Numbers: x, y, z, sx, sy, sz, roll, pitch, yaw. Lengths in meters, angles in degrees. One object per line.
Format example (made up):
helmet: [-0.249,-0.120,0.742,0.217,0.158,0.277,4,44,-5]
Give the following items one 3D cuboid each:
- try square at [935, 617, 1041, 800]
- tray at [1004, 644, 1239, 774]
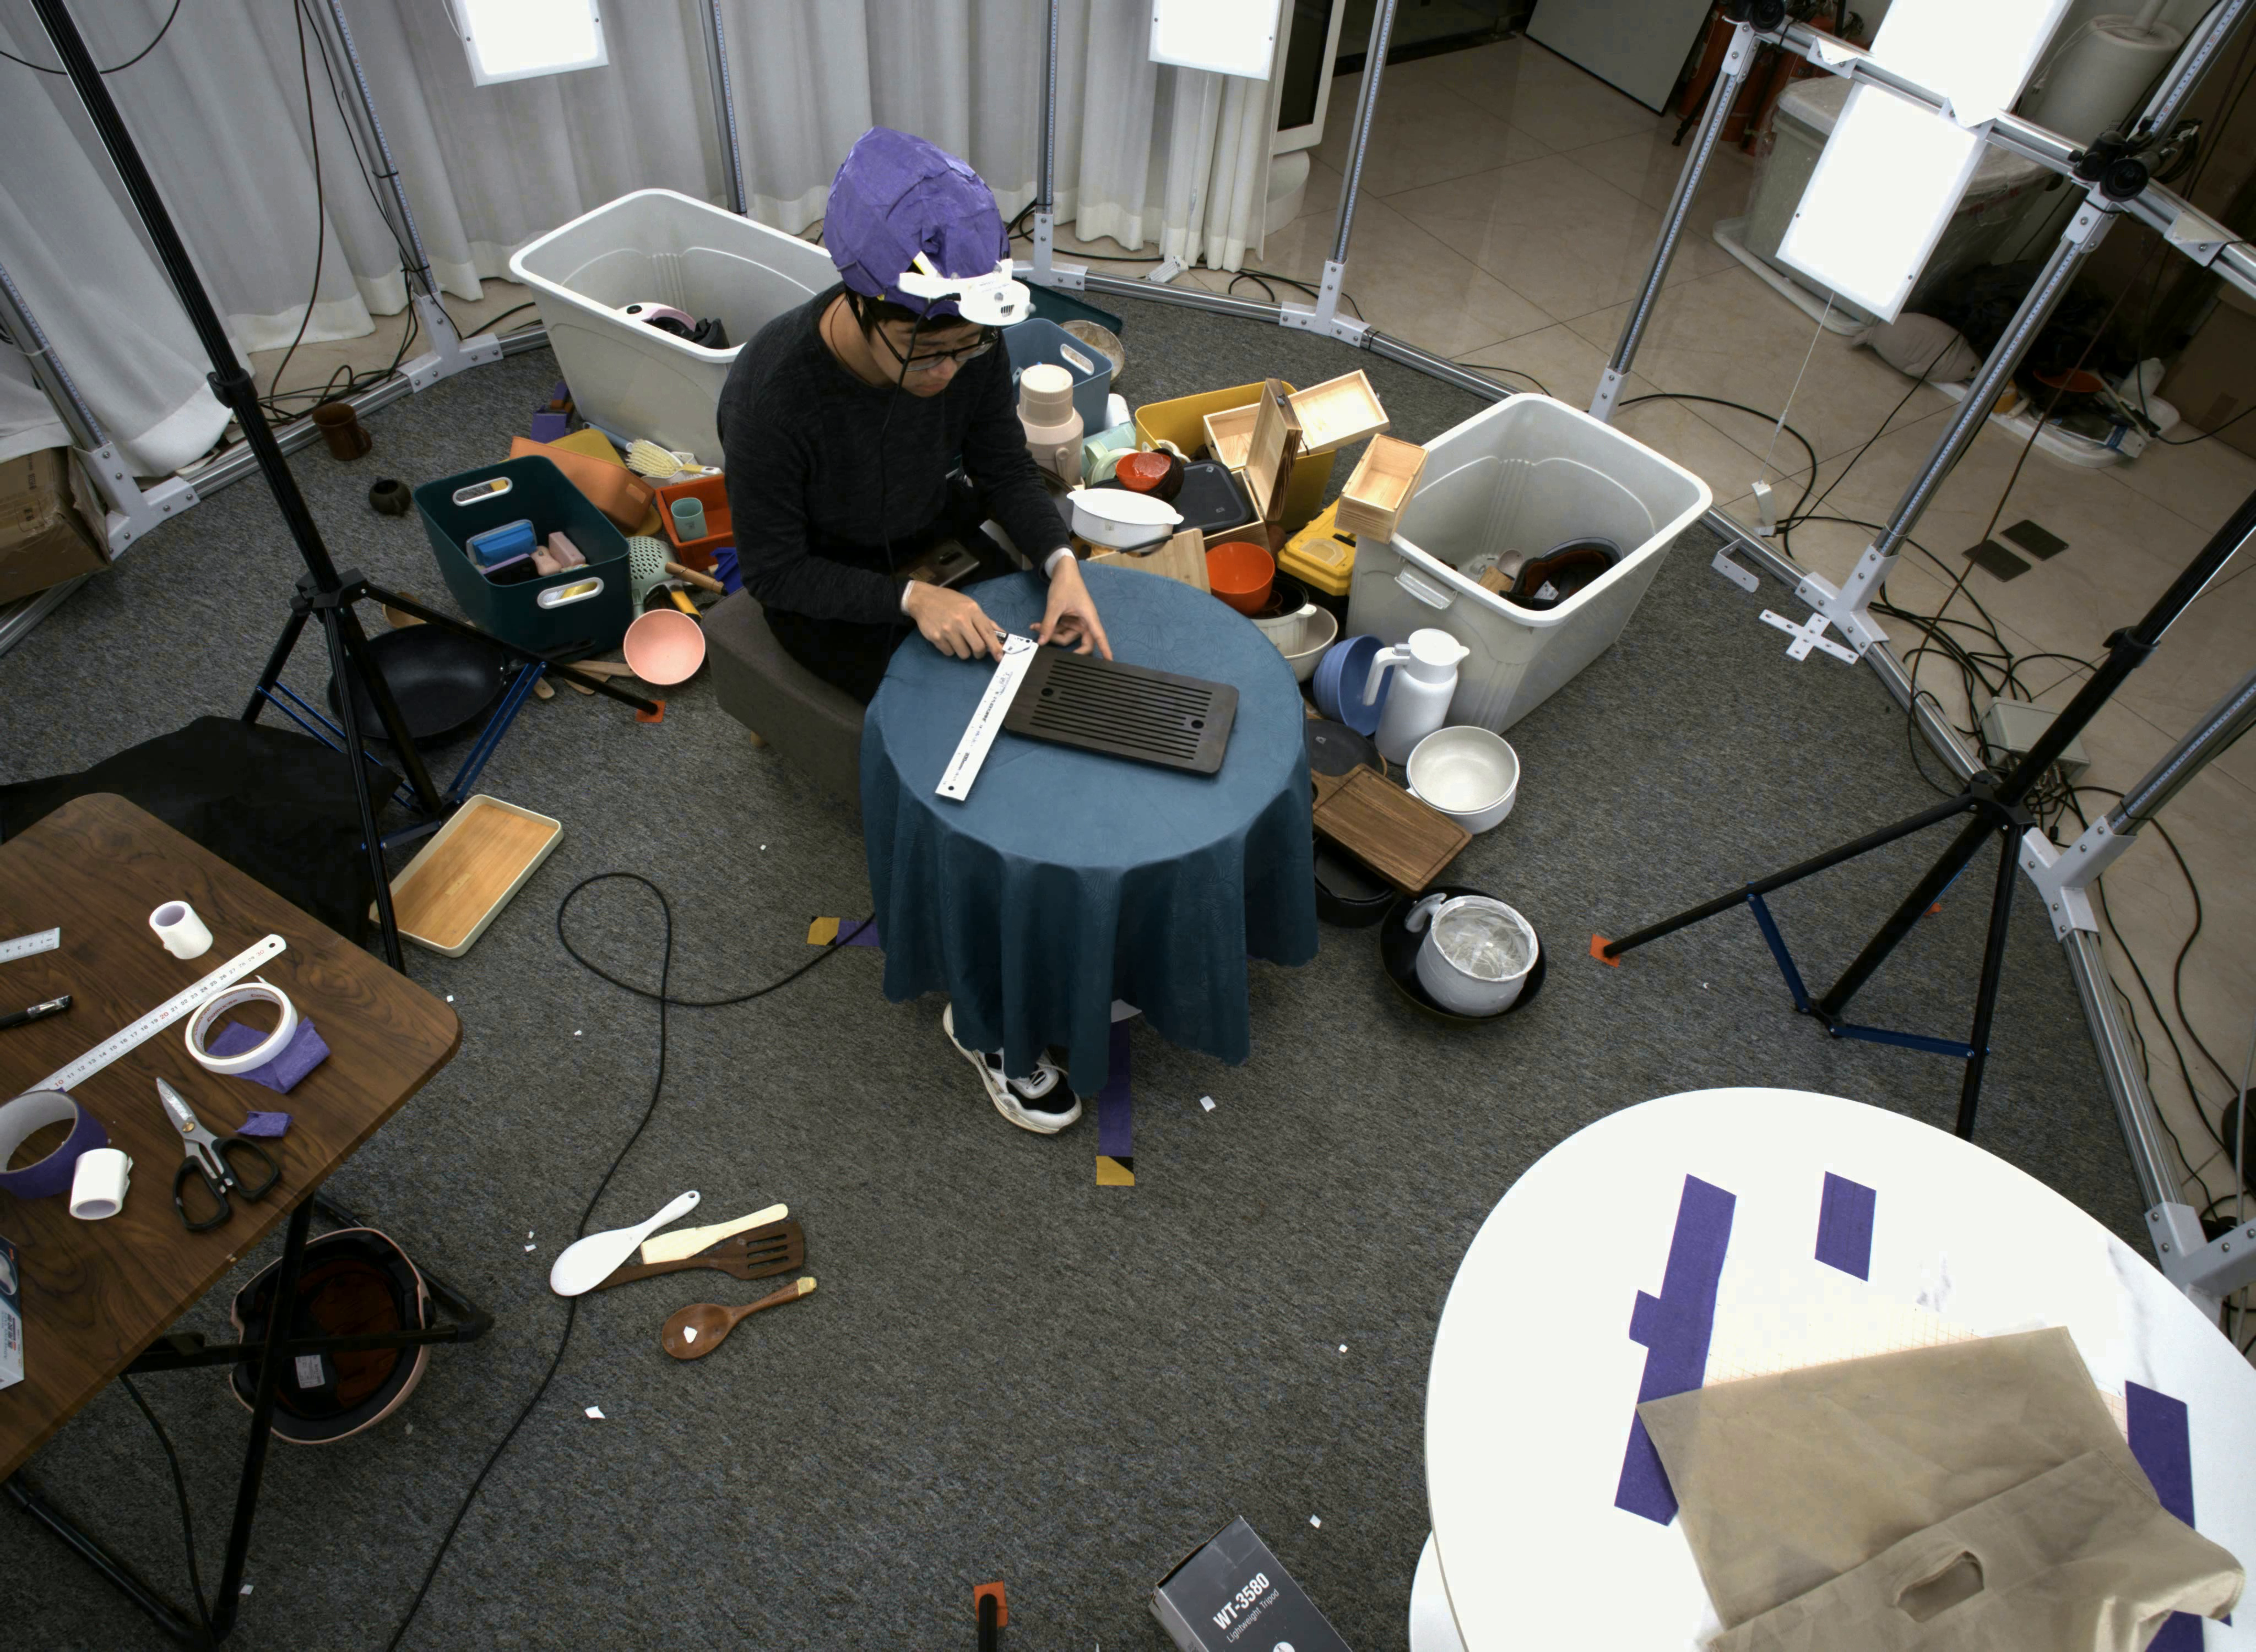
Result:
try square: [-0.241,-0.169,1.779,0.153,0.015,0.319,14,51,9]
tray: [-0.007,-0.164,1.798,0.306,0.018,0.174,13,51,7]
